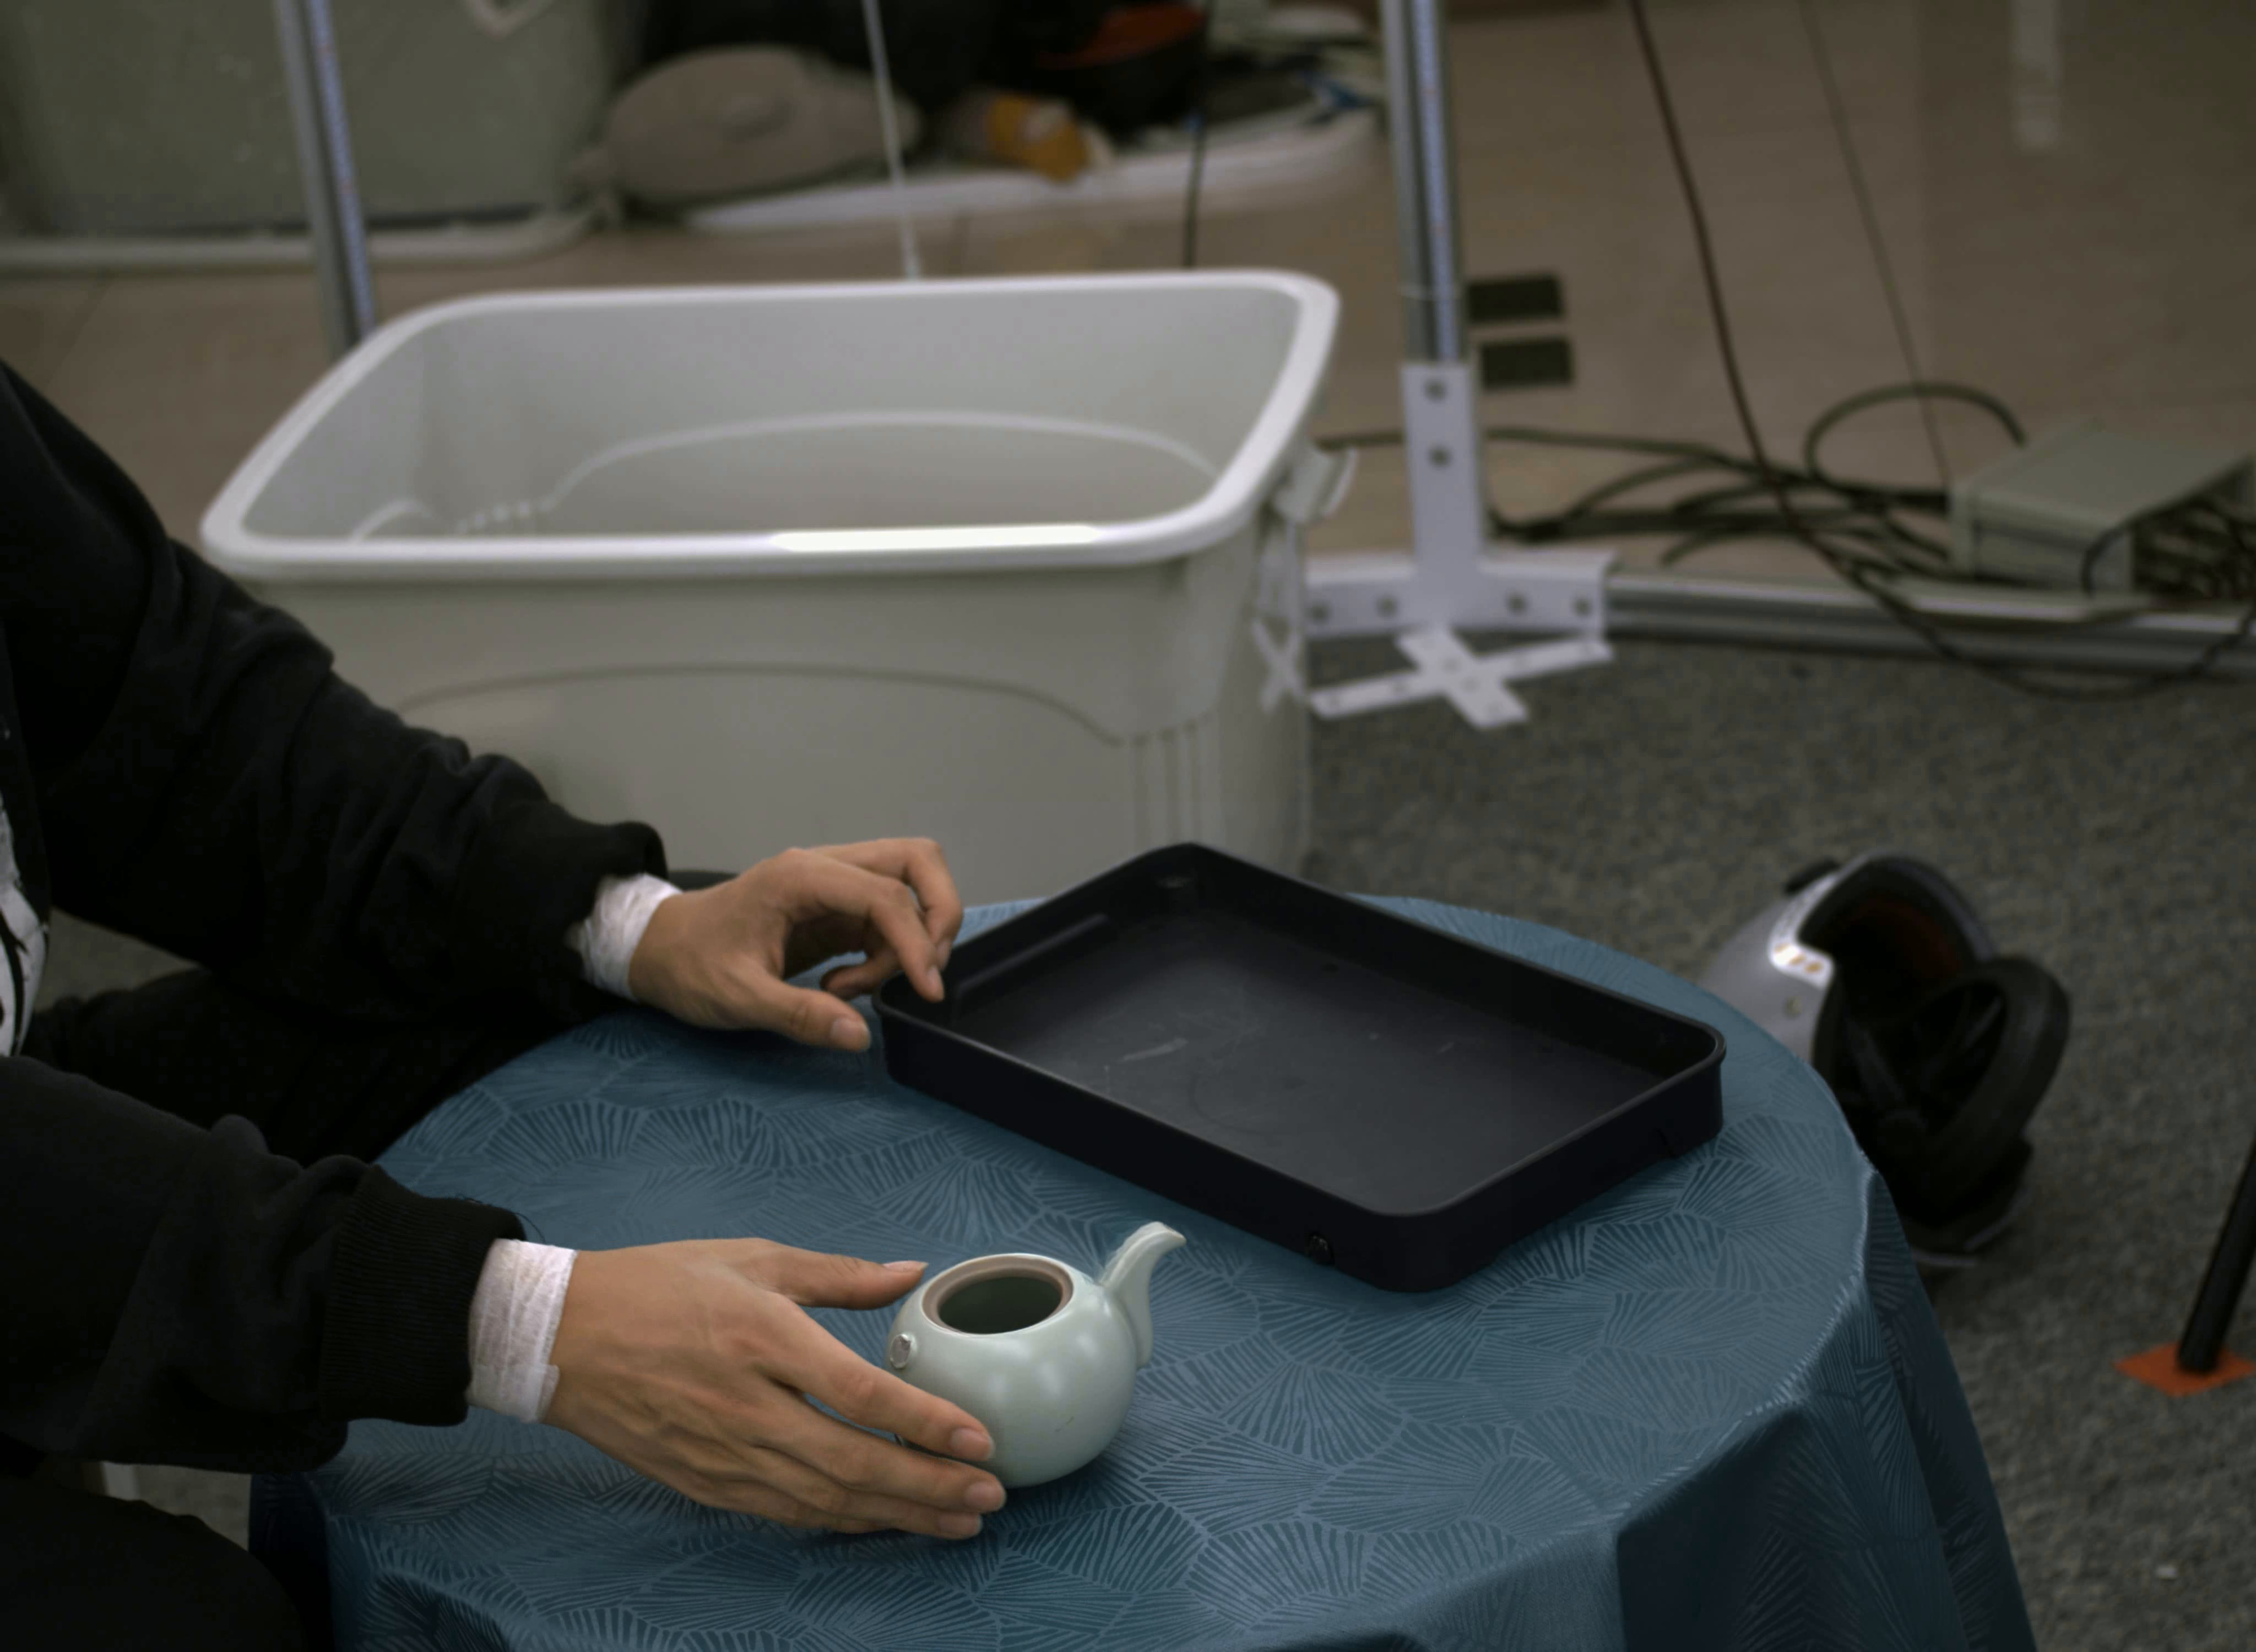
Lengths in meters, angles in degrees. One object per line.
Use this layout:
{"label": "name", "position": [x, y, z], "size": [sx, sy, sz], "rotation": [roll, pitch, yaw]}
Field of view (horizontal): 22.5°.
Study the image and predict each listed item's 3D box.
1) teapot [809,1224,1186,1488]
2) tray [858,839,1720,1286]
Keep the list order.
{"label": "teapot", "position": [-0.042, 0.188, 1.968], "size": [0.143, 0.076, 0.087], "rotation": [-14, 26, -20]}
{"label": "tray", "position": [0.060, 0.087, 2.204], "size": [0.183, 0.037, 0.315], "rotation": [-28, 32, -37]}
